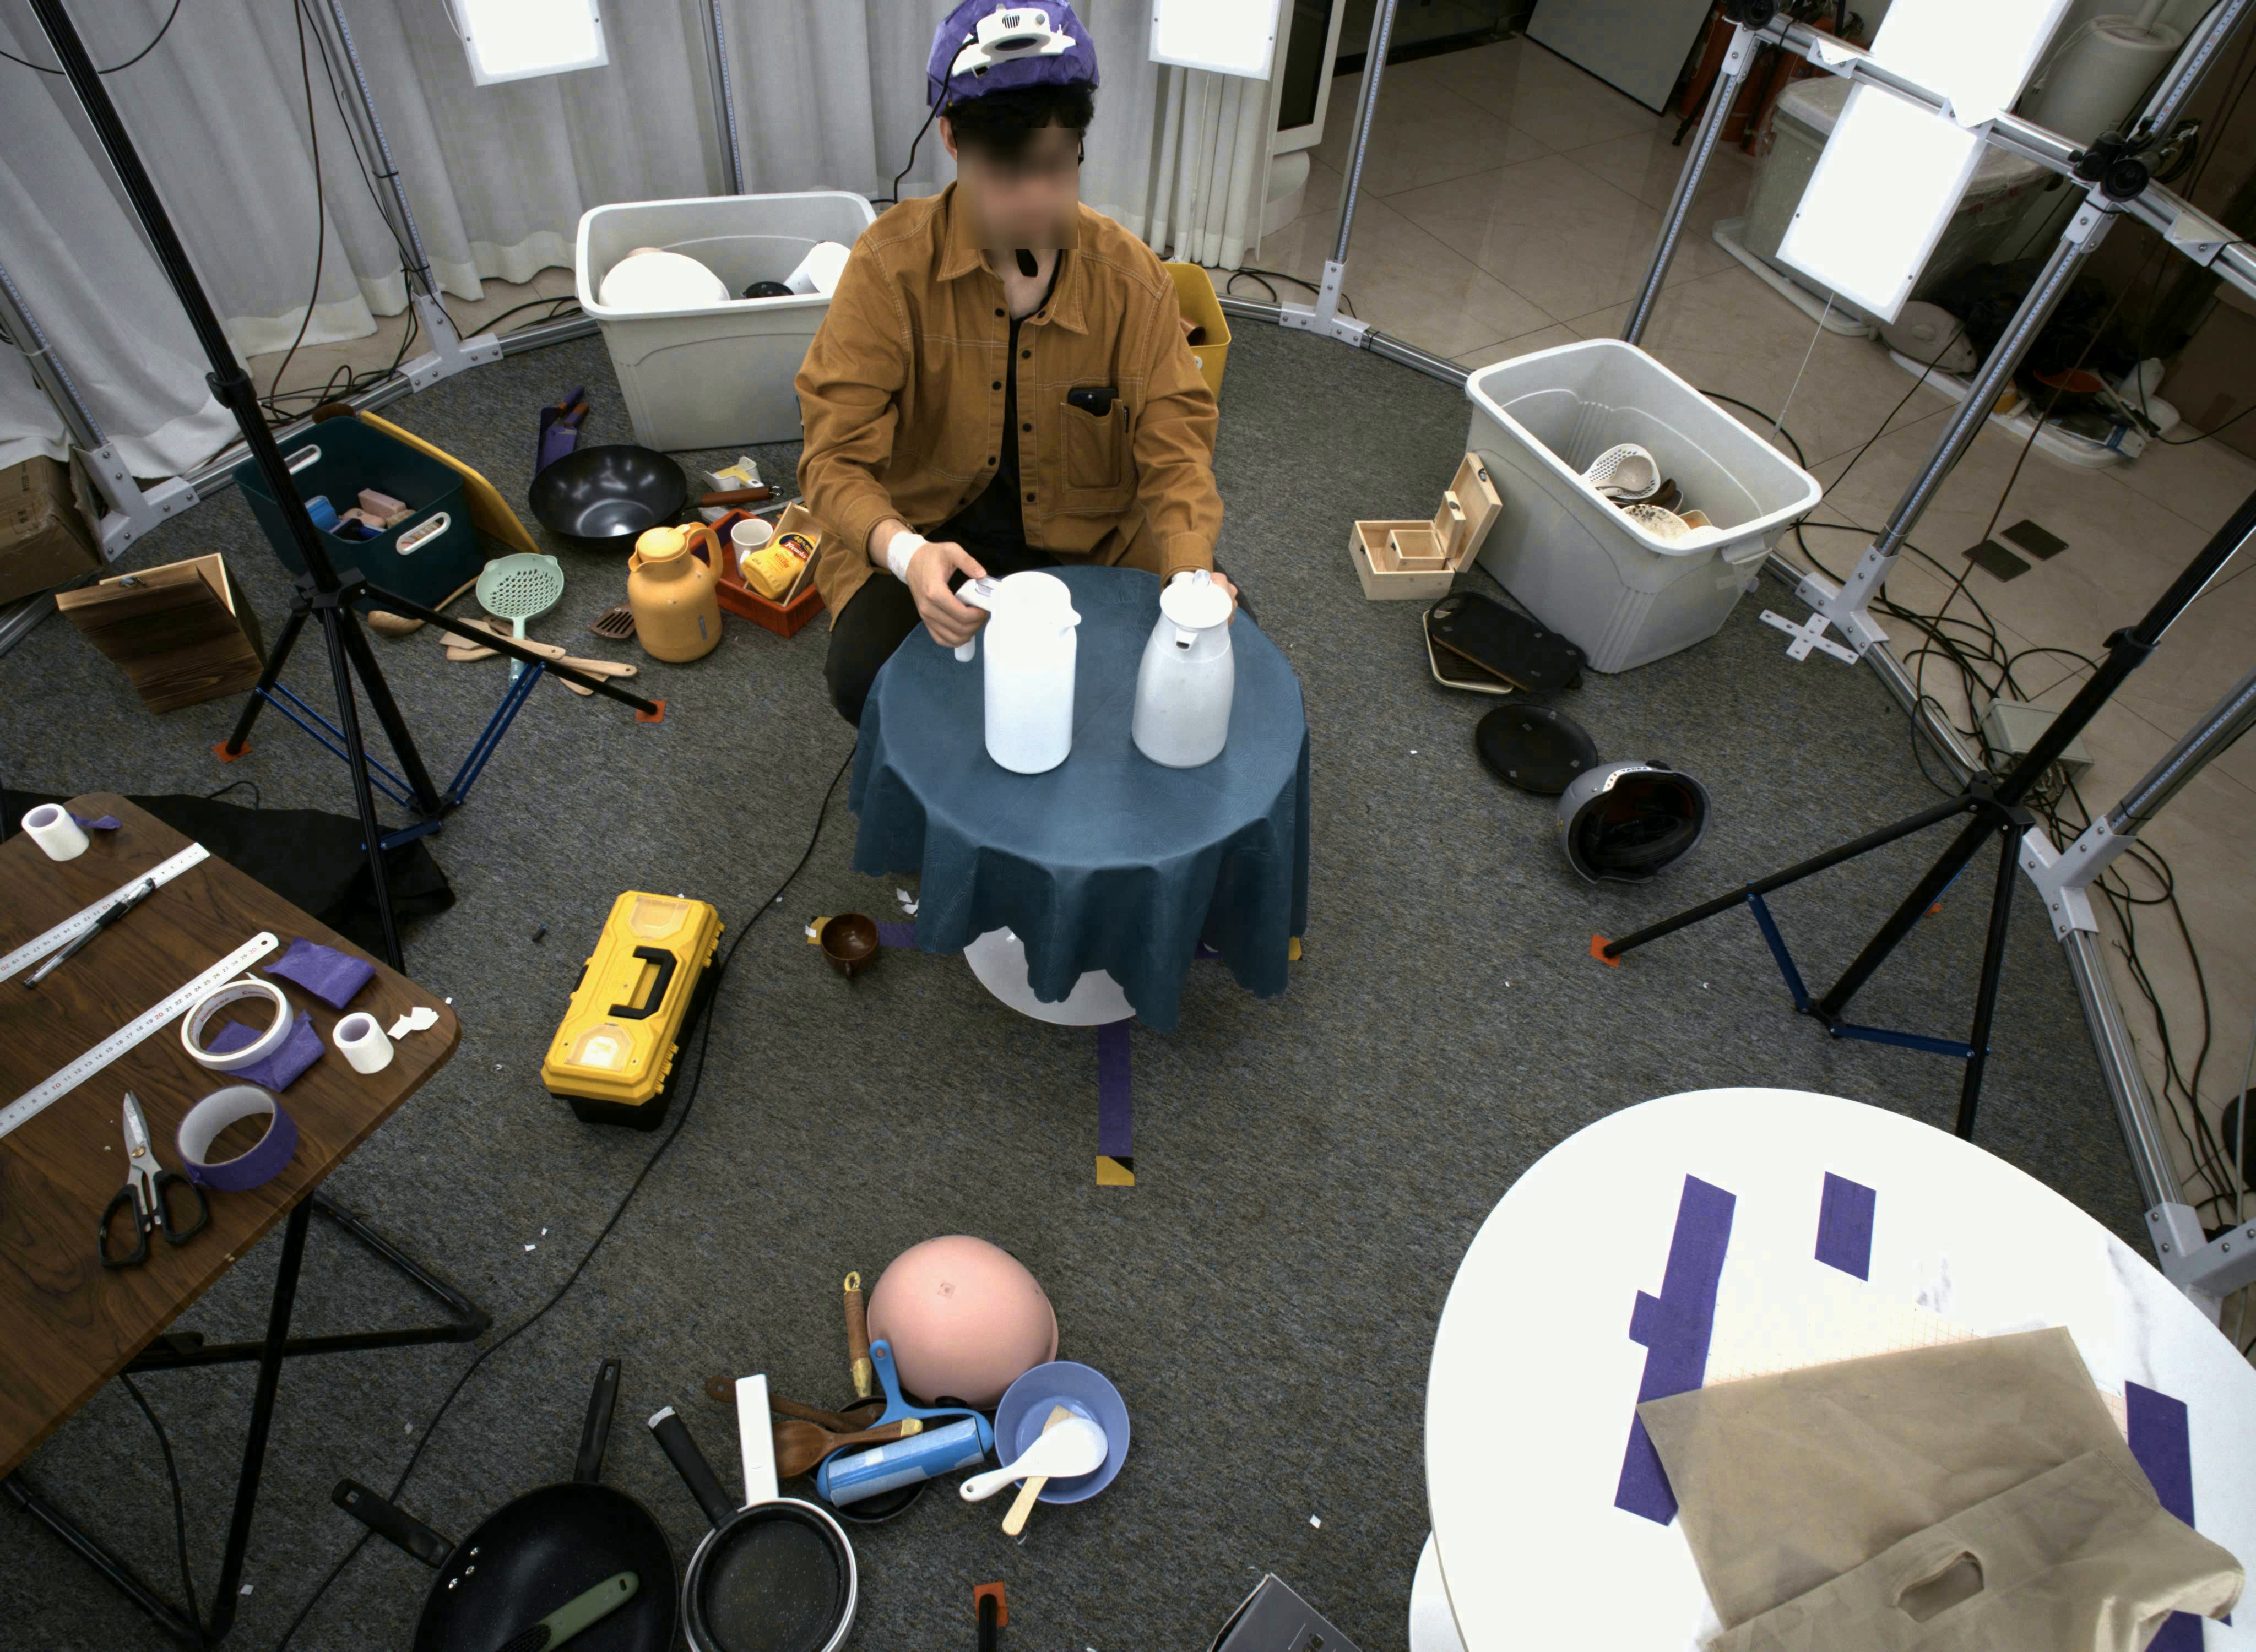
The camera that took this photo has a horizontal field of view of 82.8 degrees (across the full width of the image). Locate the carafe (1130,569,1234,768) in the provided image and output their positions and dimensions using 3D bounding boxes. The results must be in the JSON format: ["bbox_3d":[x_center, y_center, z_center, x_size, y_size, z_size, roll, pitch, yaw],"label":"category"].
[{"bbox_3d":[0.081,-0.221,1.706,0.133,0.242,0.171,13,49,7],"label":"carafe"}]

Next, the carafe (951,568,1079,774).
[{"bbox_3d":[-0.145,-0.200,1.662,0.174,0.262,0.126,22,53,14],"label":"carafe"}]
